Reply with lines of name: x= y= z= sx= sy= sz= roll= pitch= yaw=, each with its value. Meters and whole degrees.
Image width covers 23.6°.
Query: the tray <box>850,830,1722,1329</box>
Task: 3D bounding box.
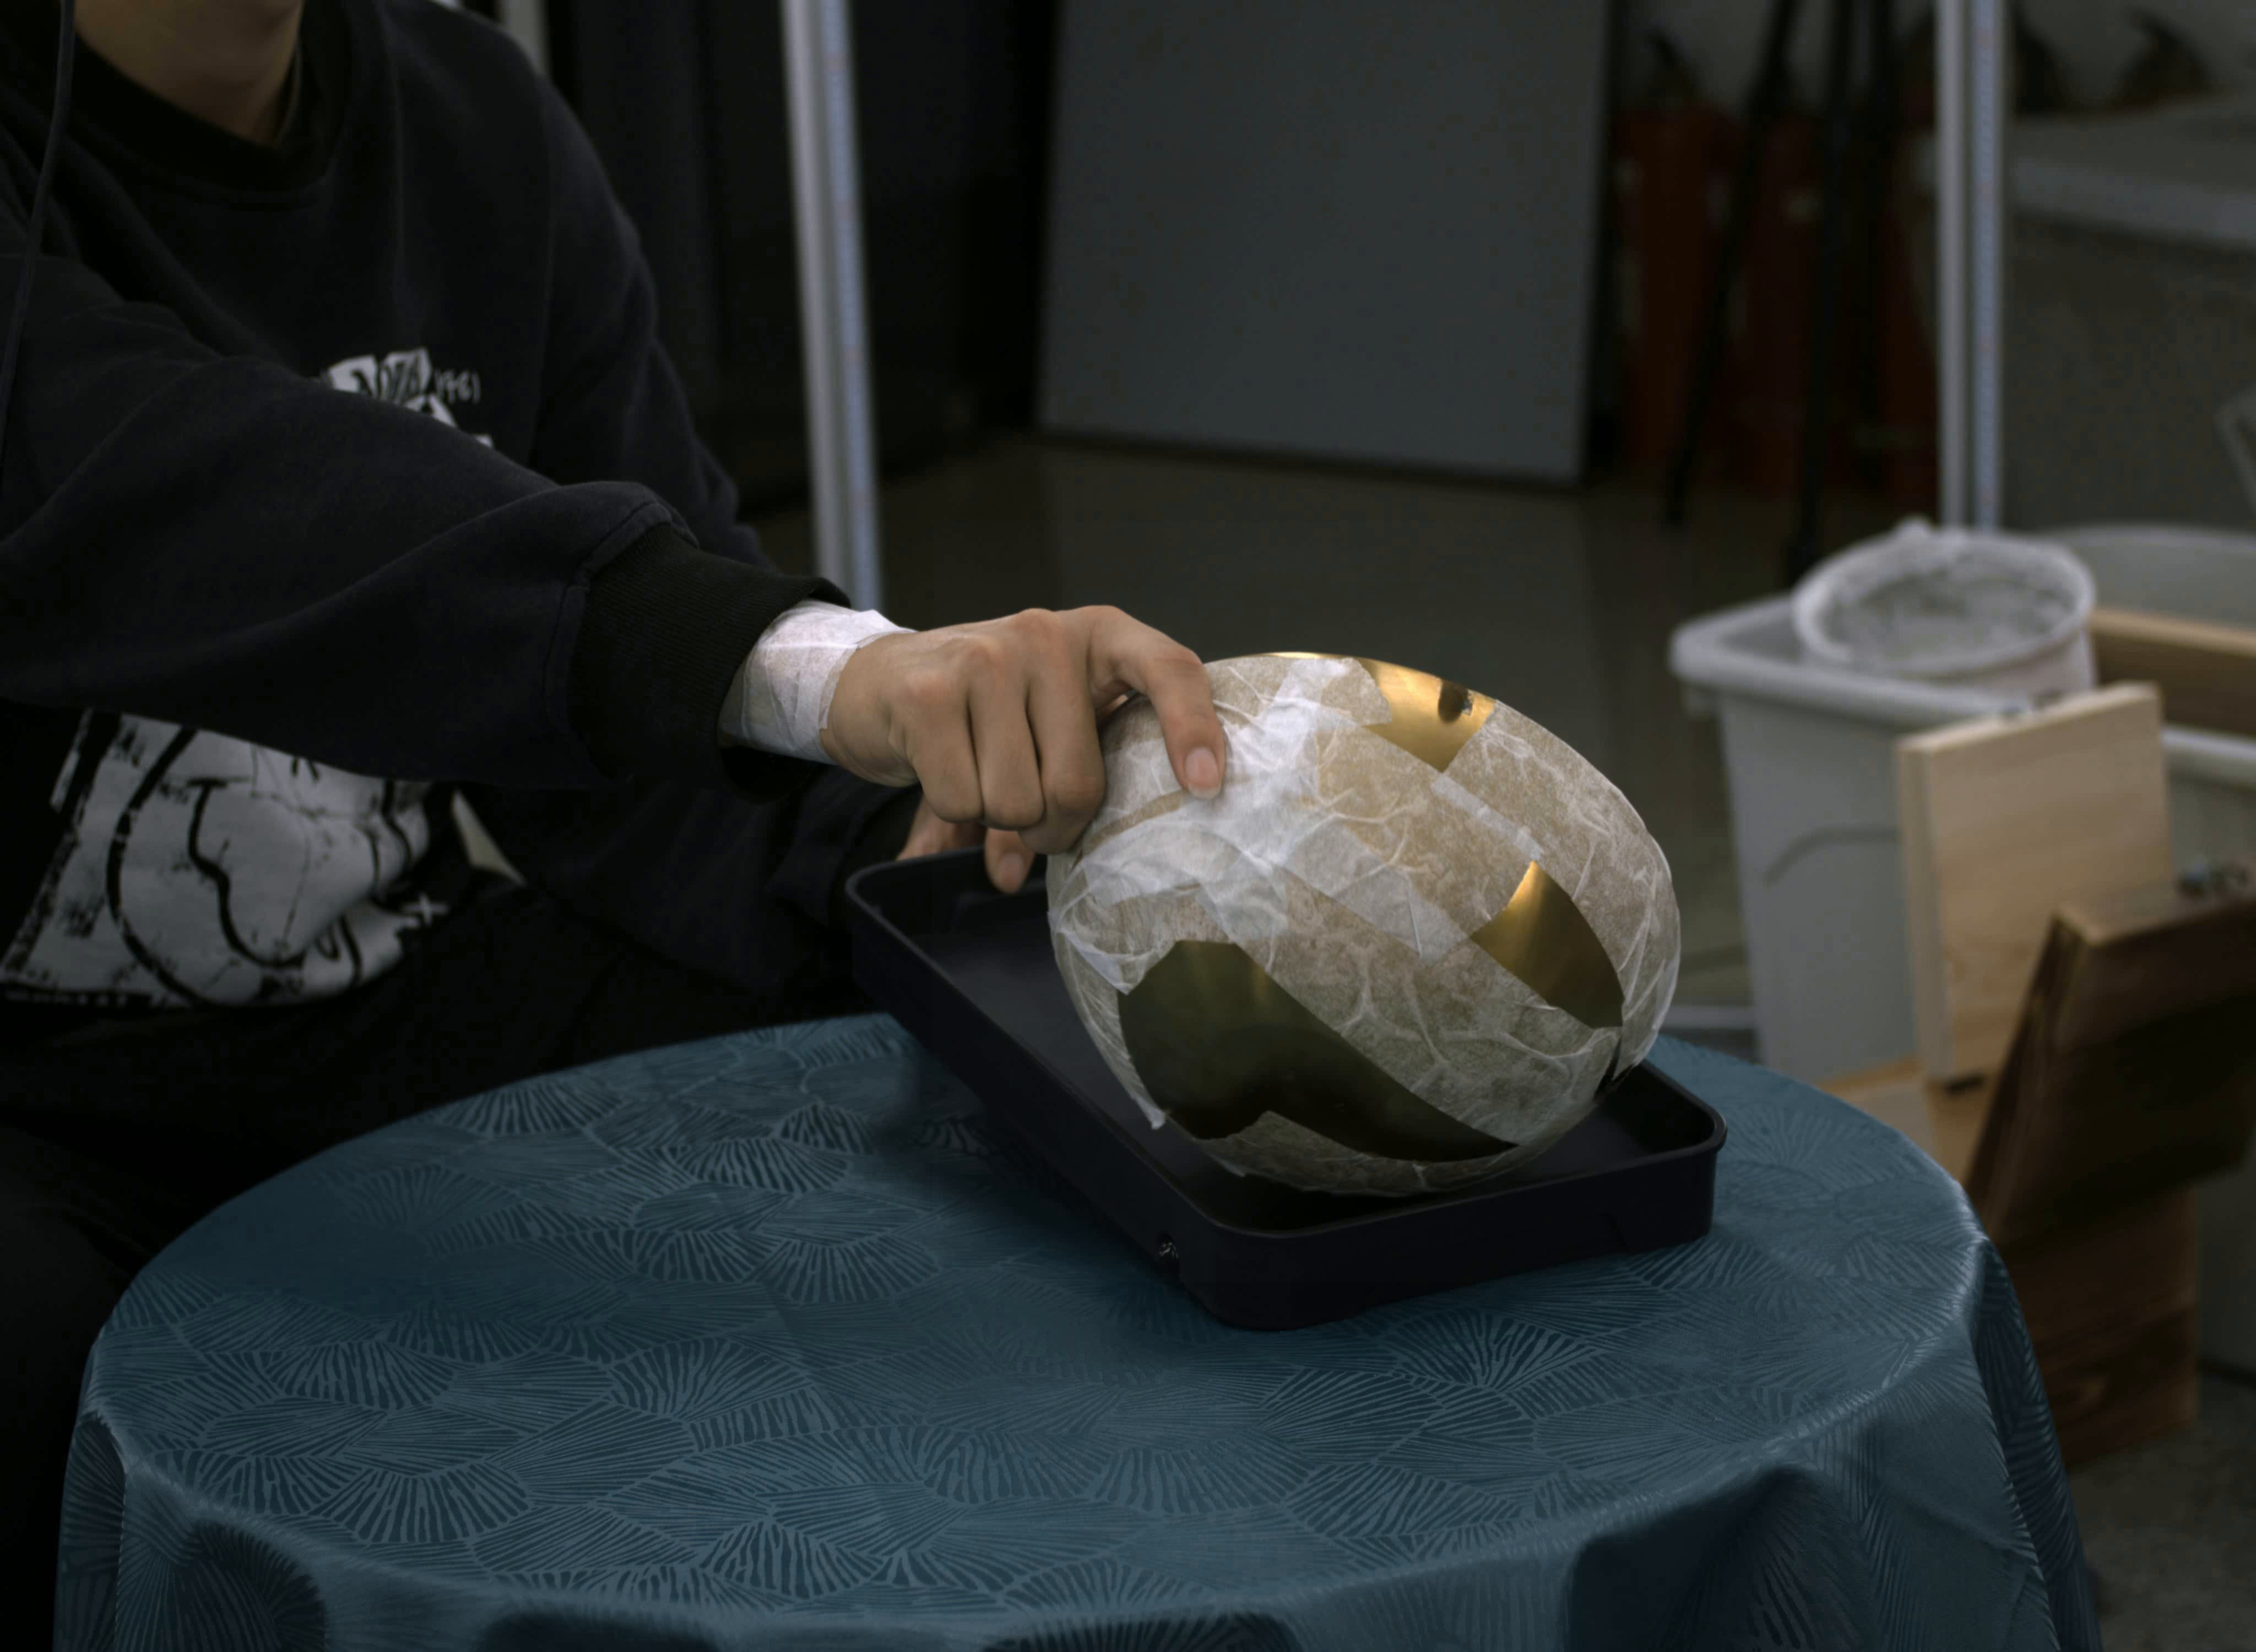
tray: x=0.045 y=0.072 z=1.780 sx=0.180 sy=0.037 sz=0.321 roll=-9 pitch=24 yaw=-23

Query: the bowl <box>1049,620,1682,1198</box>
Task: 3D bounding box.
bowl: x=0.060 y=0.048 z=1.653 sx=0.215 sy=0.214 sz=0.094 roll=3 pitch=44 yaw=23
